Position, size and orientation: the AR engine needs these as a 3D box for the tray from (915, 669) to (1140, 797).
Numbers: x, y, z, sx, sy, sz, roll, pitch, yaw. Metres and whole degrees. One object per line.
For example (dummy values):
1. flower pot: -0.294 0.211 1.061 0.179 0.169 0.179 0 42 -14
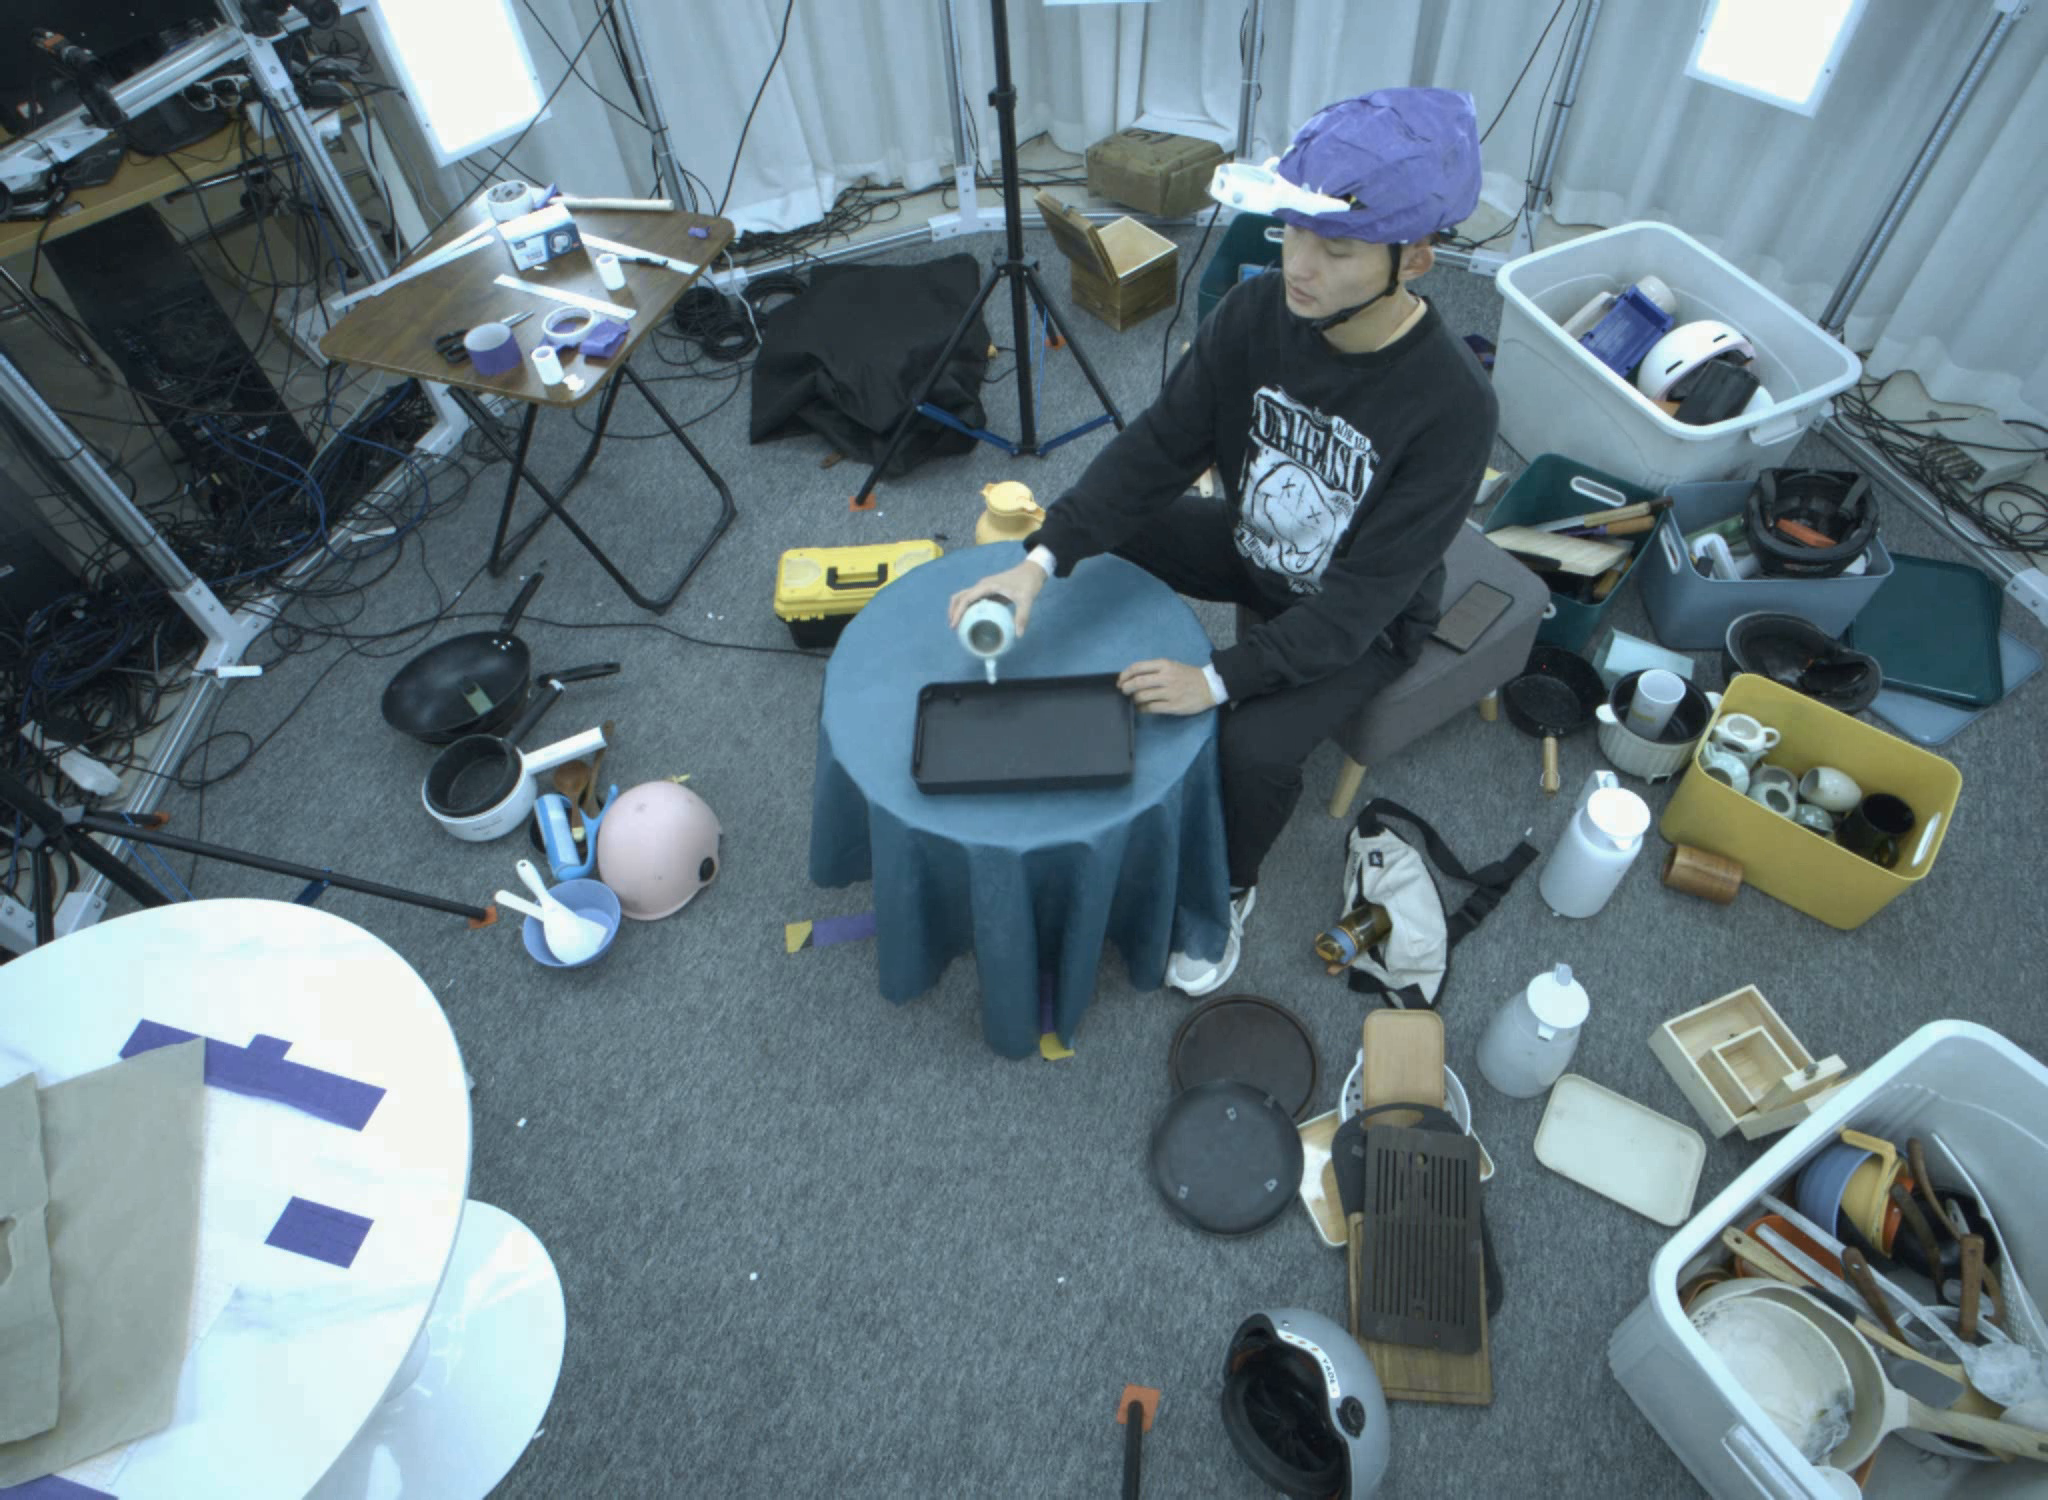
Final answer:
1. tray: 0.005 -0.025 1.767 0.317 0.037 0.182 -5 54 3

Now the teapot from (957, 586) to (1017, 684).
1. teapot: -0.054 -0.174 1.785 0.088 0.145 0.074 -4 28 5
